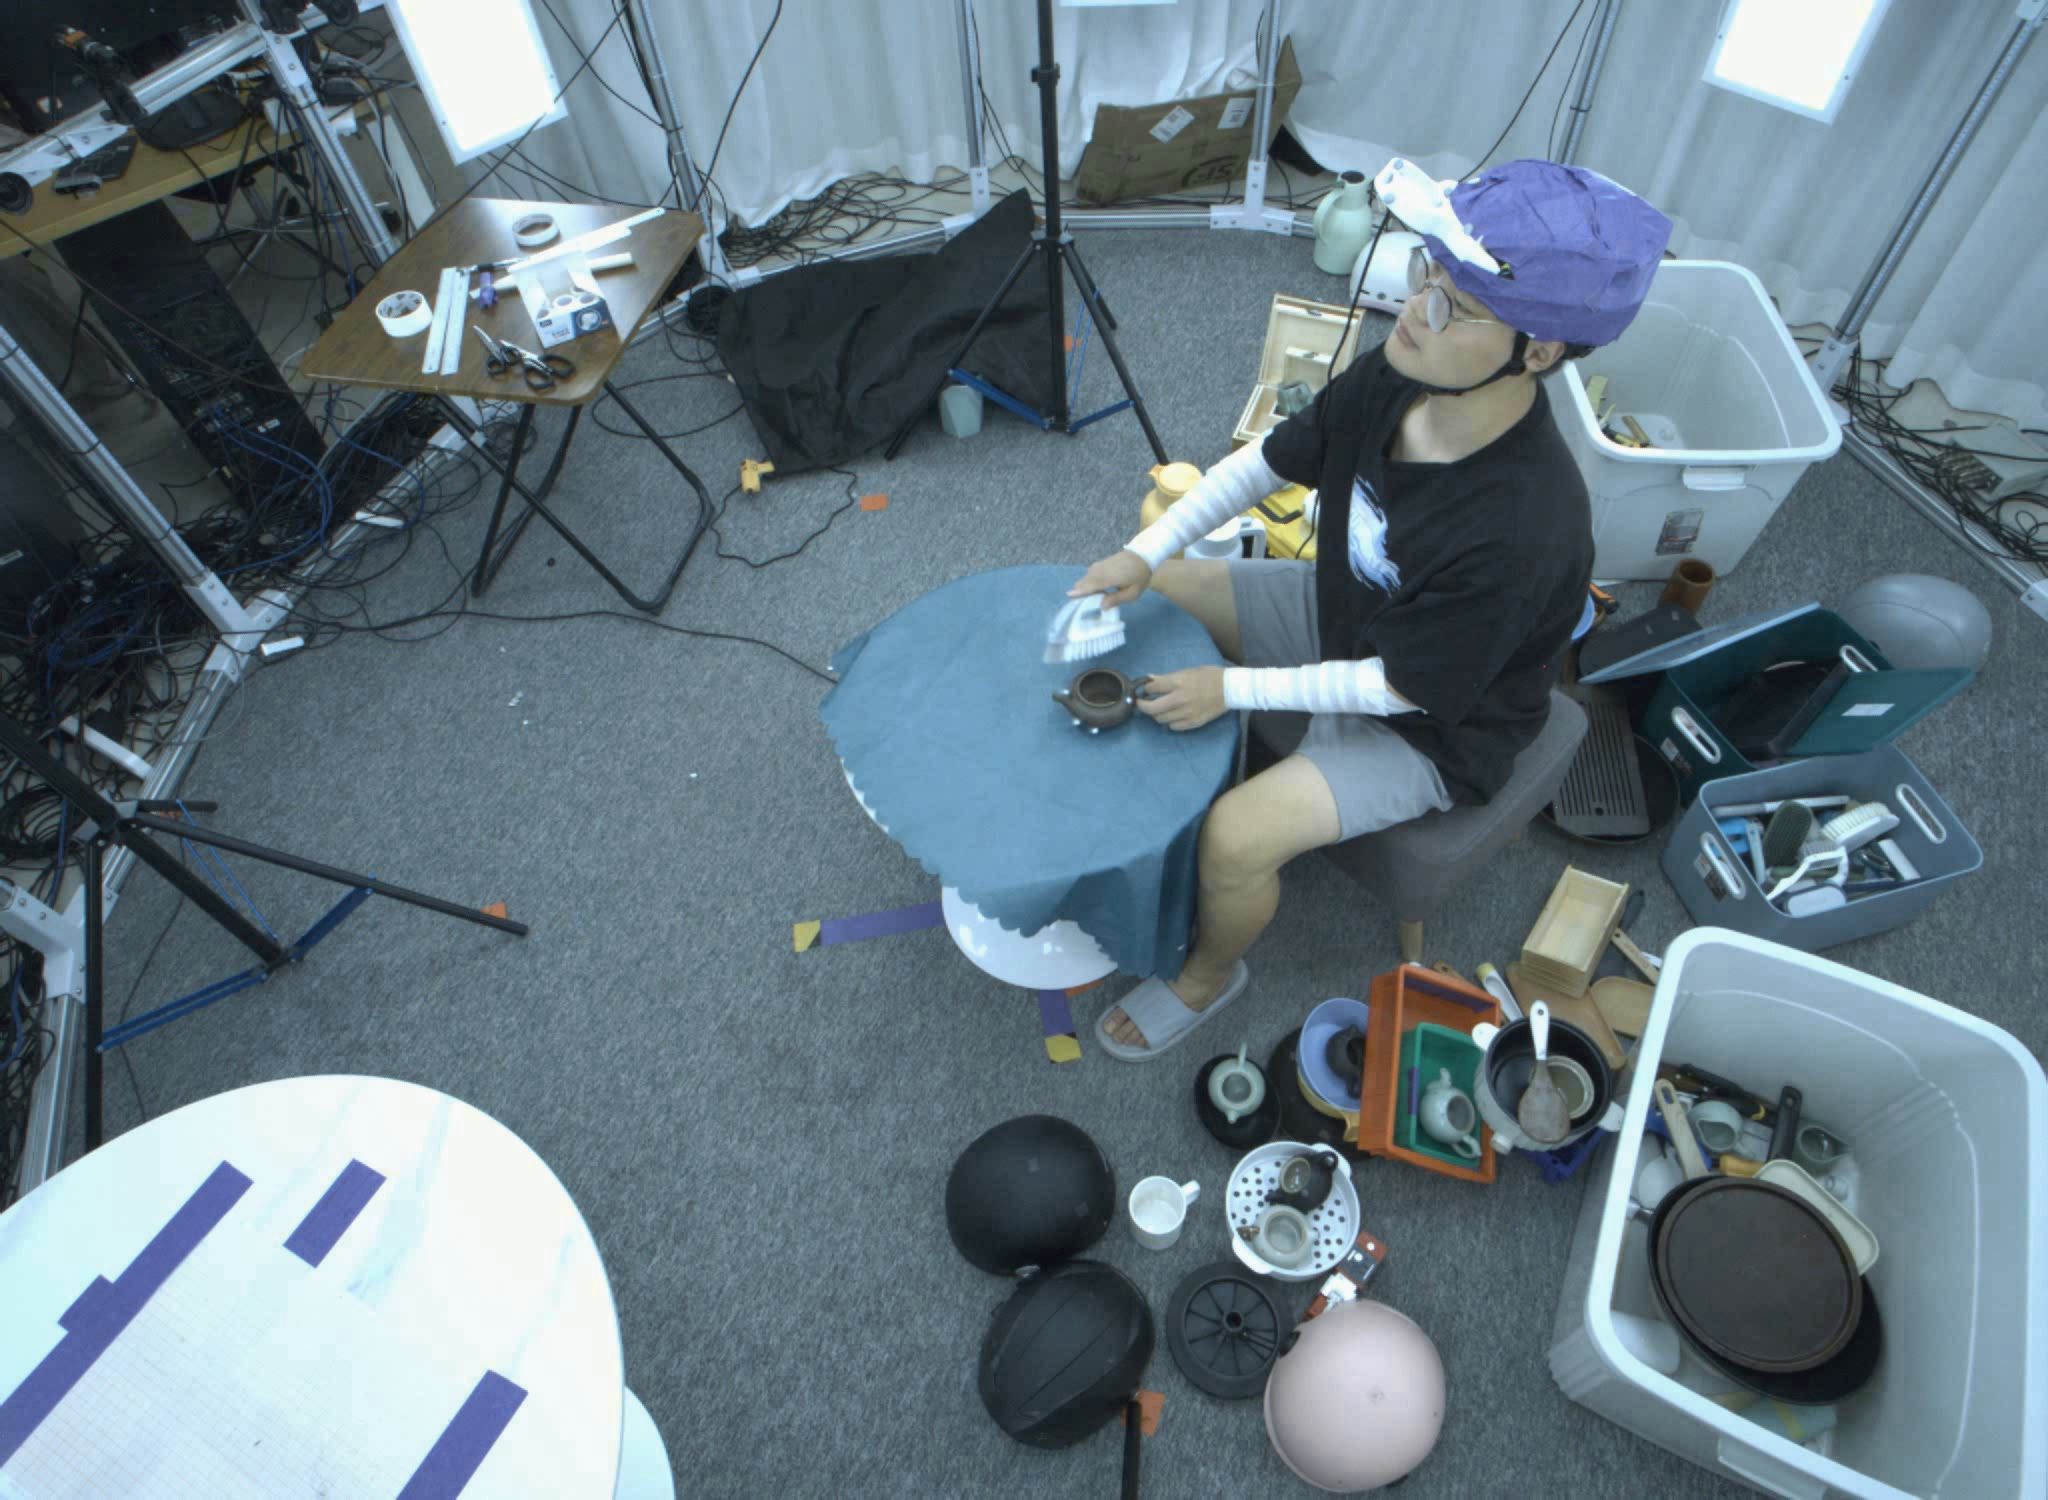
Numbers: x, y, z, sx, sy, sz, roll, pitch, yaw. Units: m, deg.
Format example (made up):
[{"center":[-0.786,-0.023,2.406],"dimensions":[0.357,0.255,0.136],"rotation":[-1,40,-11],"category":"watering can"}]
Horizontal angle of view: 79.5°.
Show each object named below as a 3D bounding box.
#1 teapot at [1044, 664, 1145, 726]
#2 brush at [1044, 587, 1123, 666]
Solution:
[{"center":[0.104,-0.083,1.801],"dimensions":[0.154,0.054,0.101],"rotation":[-18,57,-10],"category":"teapot"},{"center":[0.078,-0.183,1.786],"dimensions":[0.060,0.095,0.178],"rotation":[9,24,34],"category":"brush"}]
